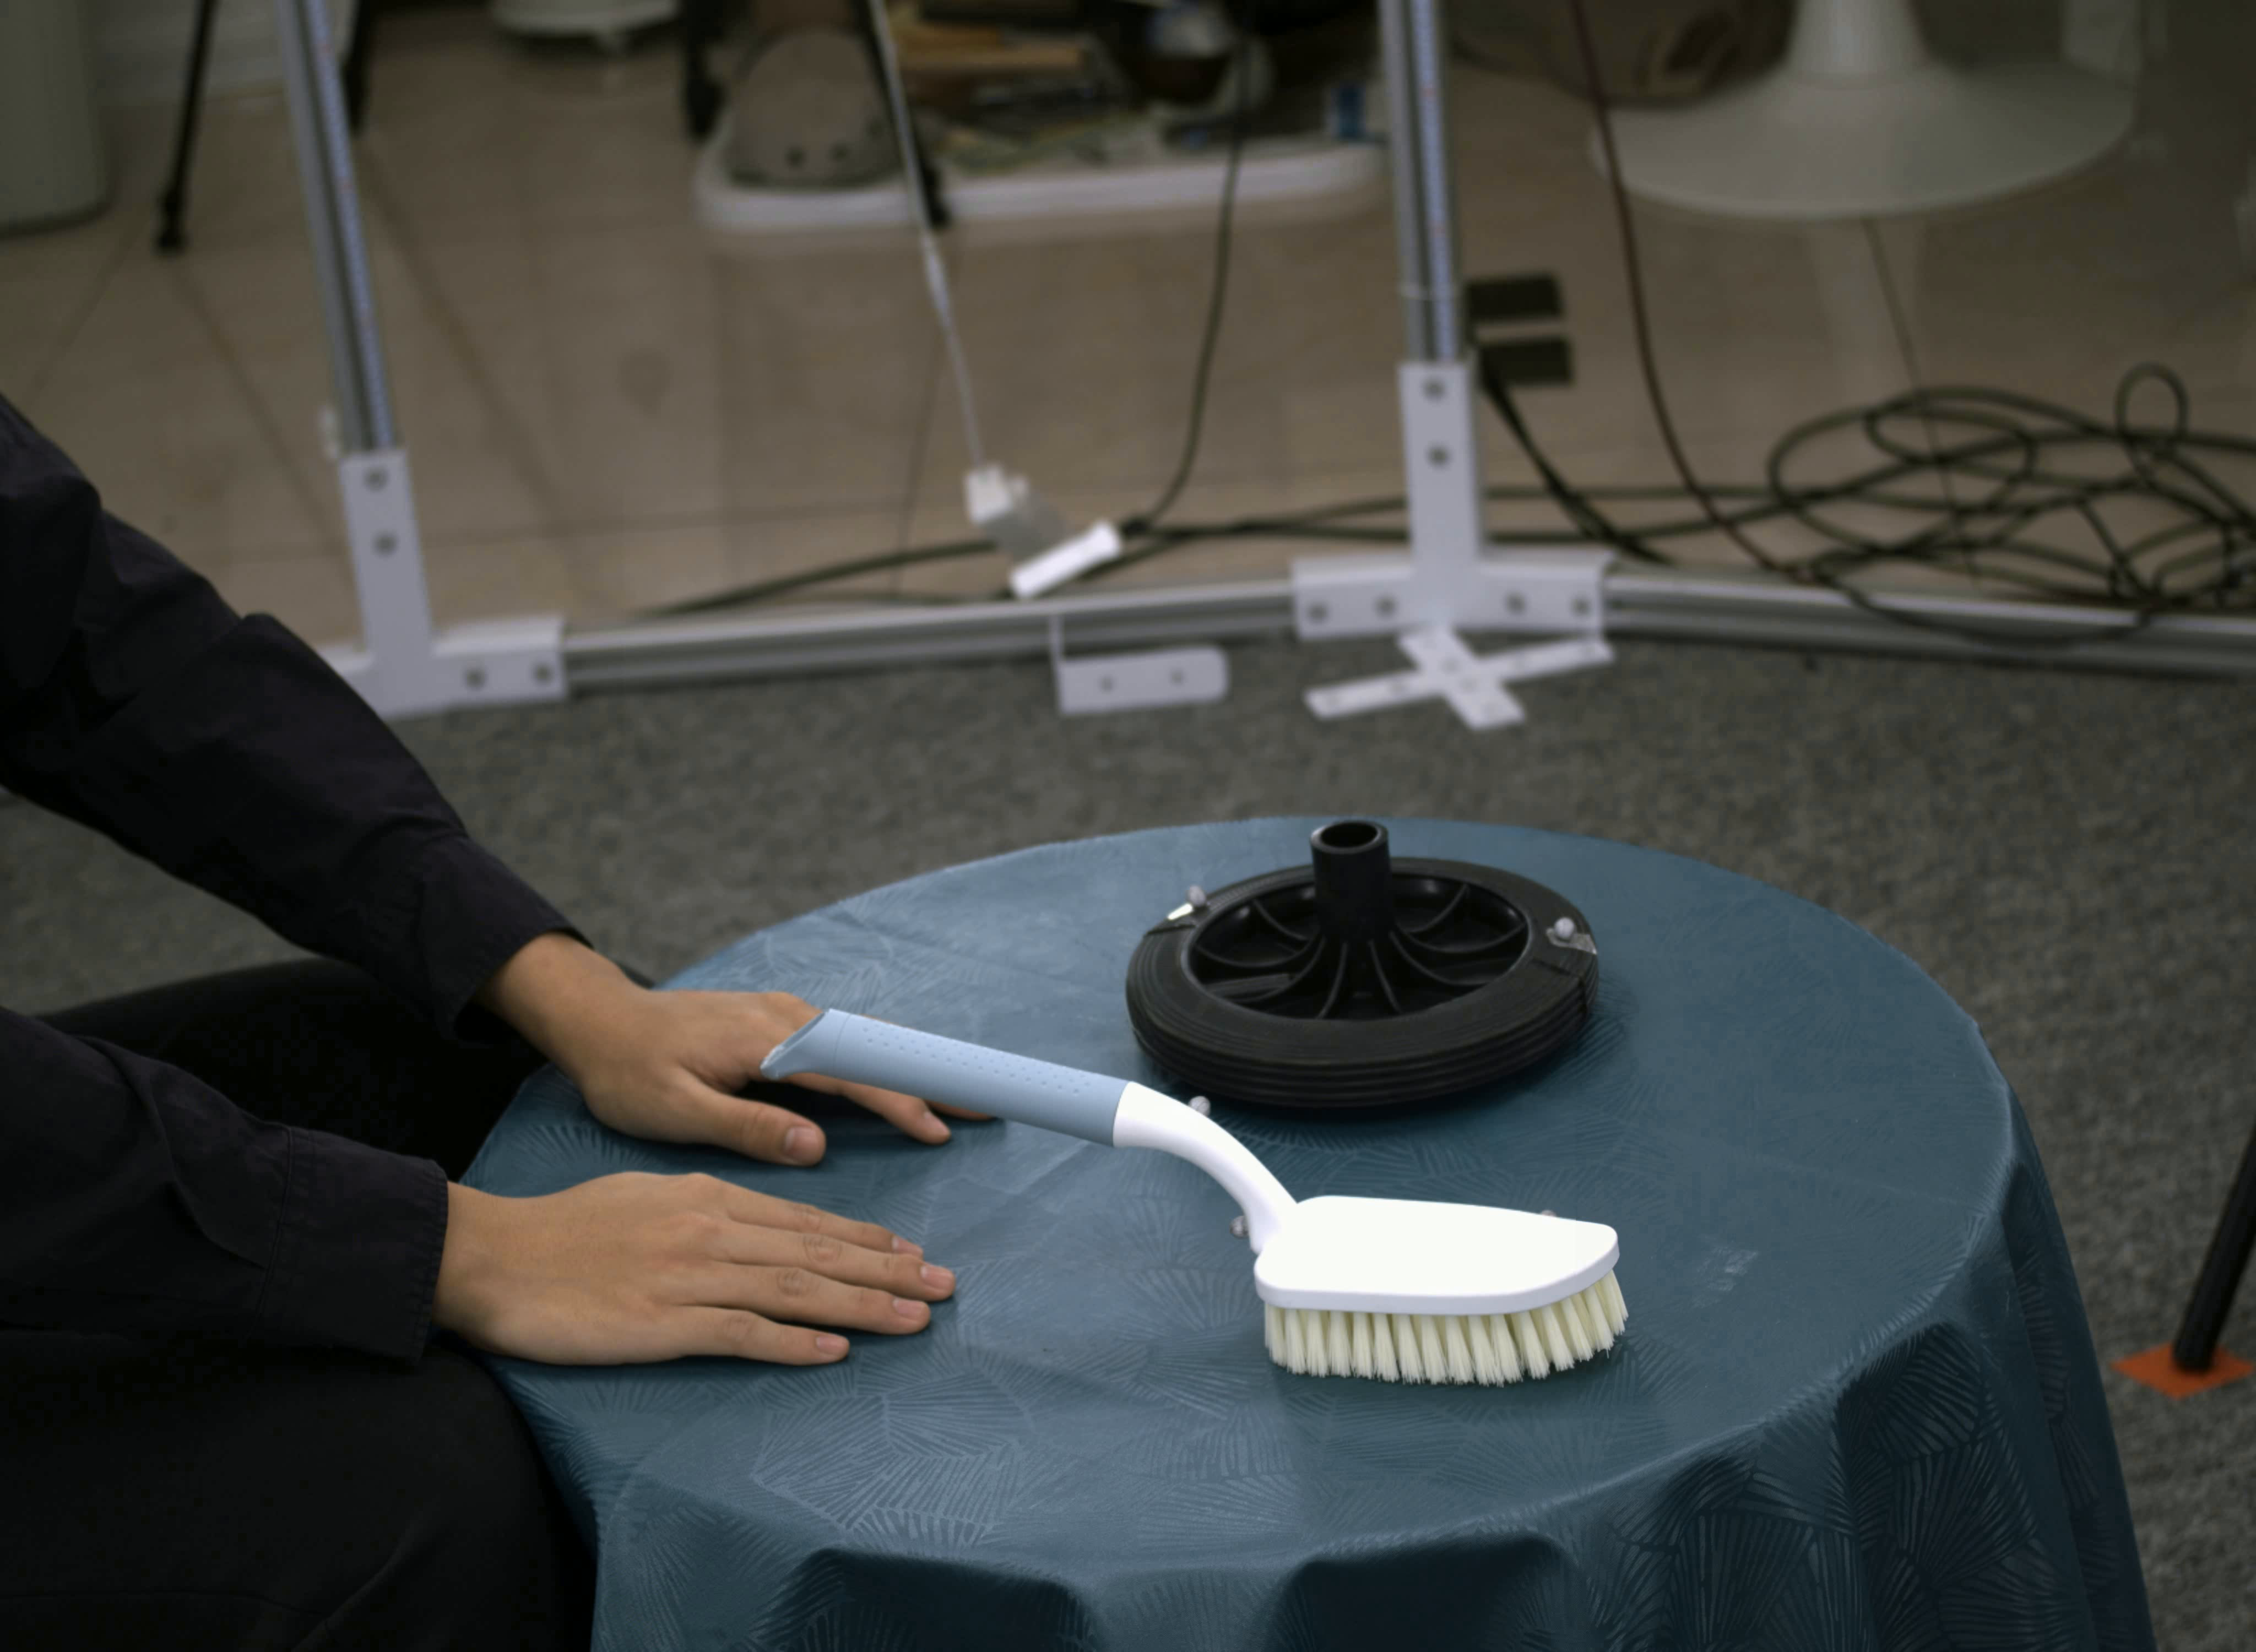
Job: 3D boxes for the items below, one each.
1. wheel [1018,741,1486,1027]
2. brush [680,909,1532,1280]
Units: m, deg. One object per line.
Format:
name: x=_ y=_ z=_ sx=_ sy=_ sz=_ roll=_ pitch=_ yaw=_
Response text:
wheel: x=0.048 y=0.008 z=2.261 sx=0.187 sy=0.080 sz=0.187 roll=-9 pitch=27 yaw=-6
brush: x=-0.011 y=0.108 z=2.064 sx=0.324 sy=0.084 sz=0.083 roll=14 pitch=-6 yaw=12
